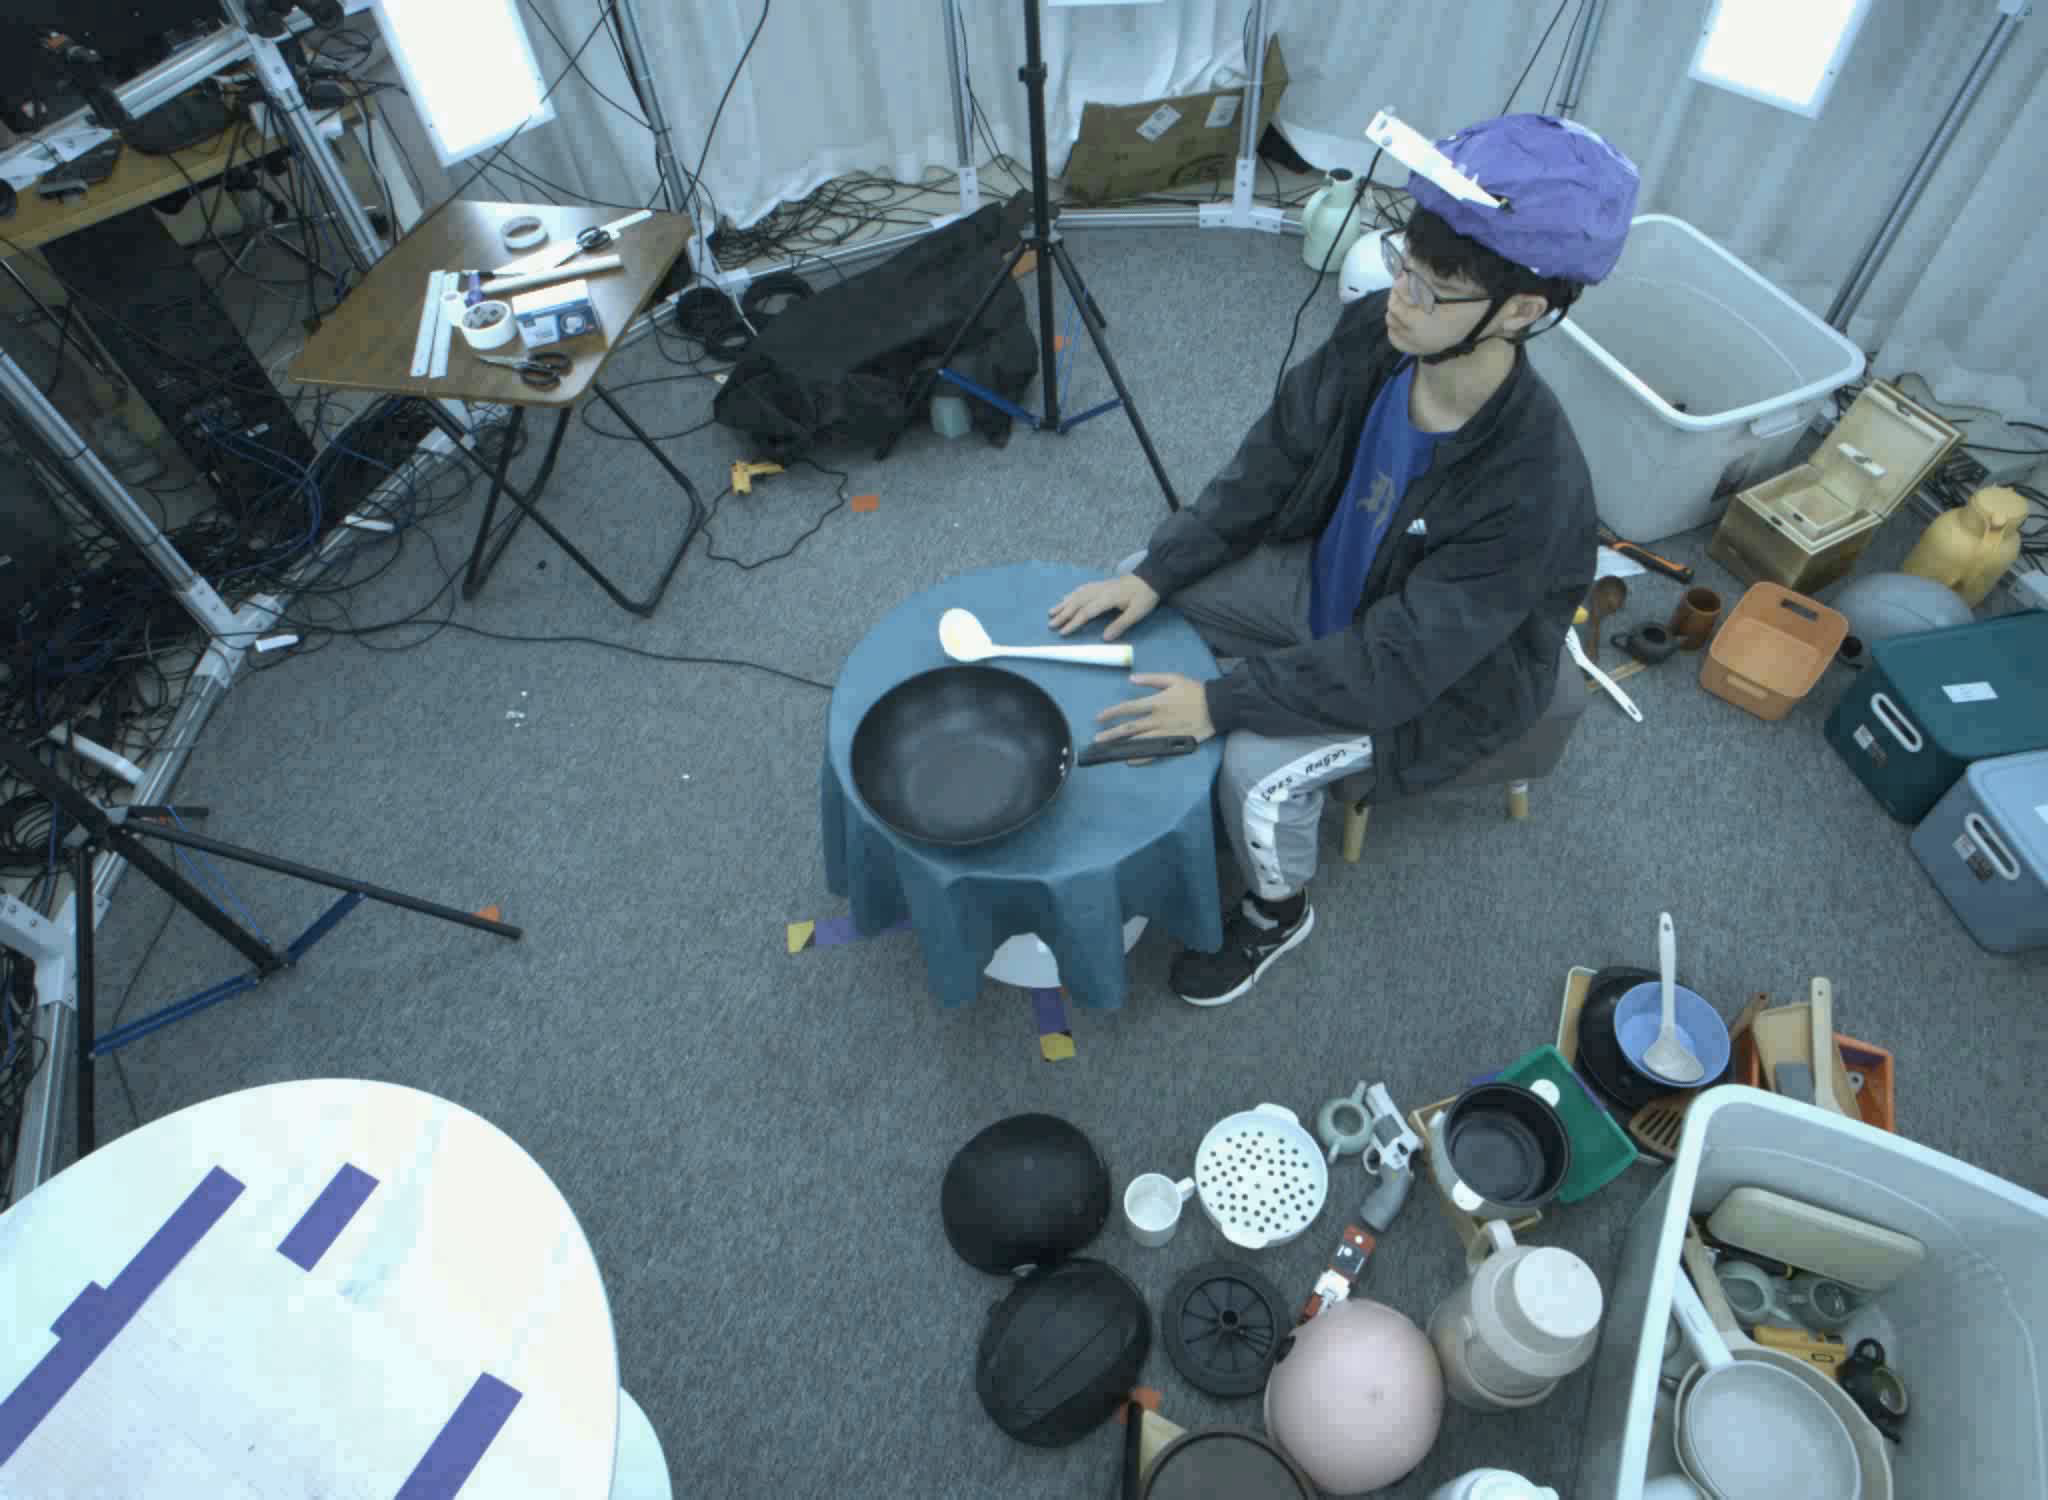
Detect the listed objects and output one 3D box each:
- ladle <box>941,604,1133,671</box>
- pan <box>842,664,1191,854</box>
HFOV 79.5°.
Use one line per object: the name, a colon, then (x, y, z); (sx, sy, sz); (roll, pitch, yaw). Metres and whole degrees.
ladle: (0.020, -0.164, 1.856); (0.292, 0.070, 0.089); (7, 52, 5)
pan: (-0.010, 0.020, 1.699); (0.476, 0.113, 0.307); (1, 56, 4)
